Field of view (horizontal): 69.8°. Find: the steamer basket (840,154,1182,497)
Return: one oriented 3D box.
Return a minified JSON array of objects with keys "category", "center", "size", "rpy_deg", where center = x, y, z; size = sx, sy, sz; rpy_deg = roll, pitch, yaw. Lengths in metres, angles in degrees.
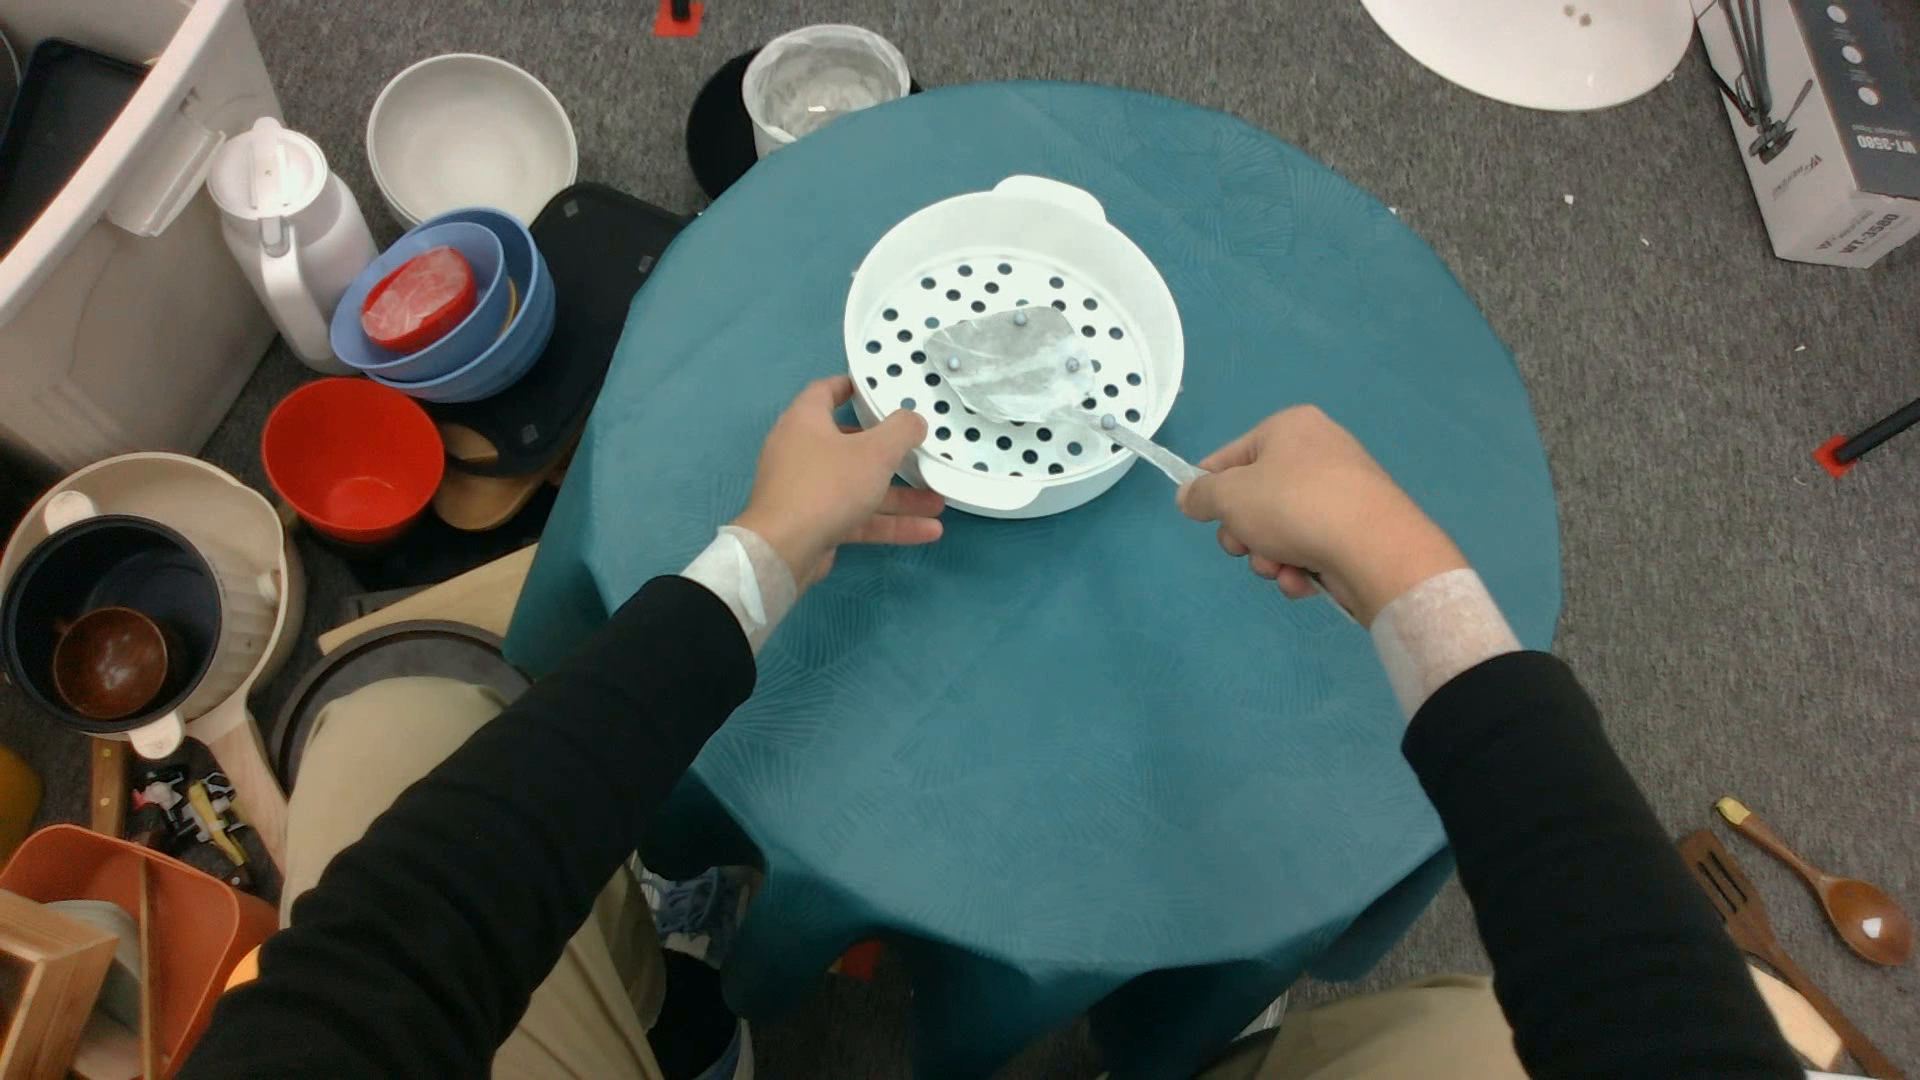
[{"category":"steamer basket","center":[0.029,-0.123,0.832],"size":[0.202,0.069,0.231],"rpy_deg":[15,67,0]}]

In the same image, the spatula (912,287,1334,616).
[{"category":"spatula","center":[0.085,-0.063,0.731],"size":[0.099,0.044,0.365],"rpy_deg":[-15,30,-21]}]
